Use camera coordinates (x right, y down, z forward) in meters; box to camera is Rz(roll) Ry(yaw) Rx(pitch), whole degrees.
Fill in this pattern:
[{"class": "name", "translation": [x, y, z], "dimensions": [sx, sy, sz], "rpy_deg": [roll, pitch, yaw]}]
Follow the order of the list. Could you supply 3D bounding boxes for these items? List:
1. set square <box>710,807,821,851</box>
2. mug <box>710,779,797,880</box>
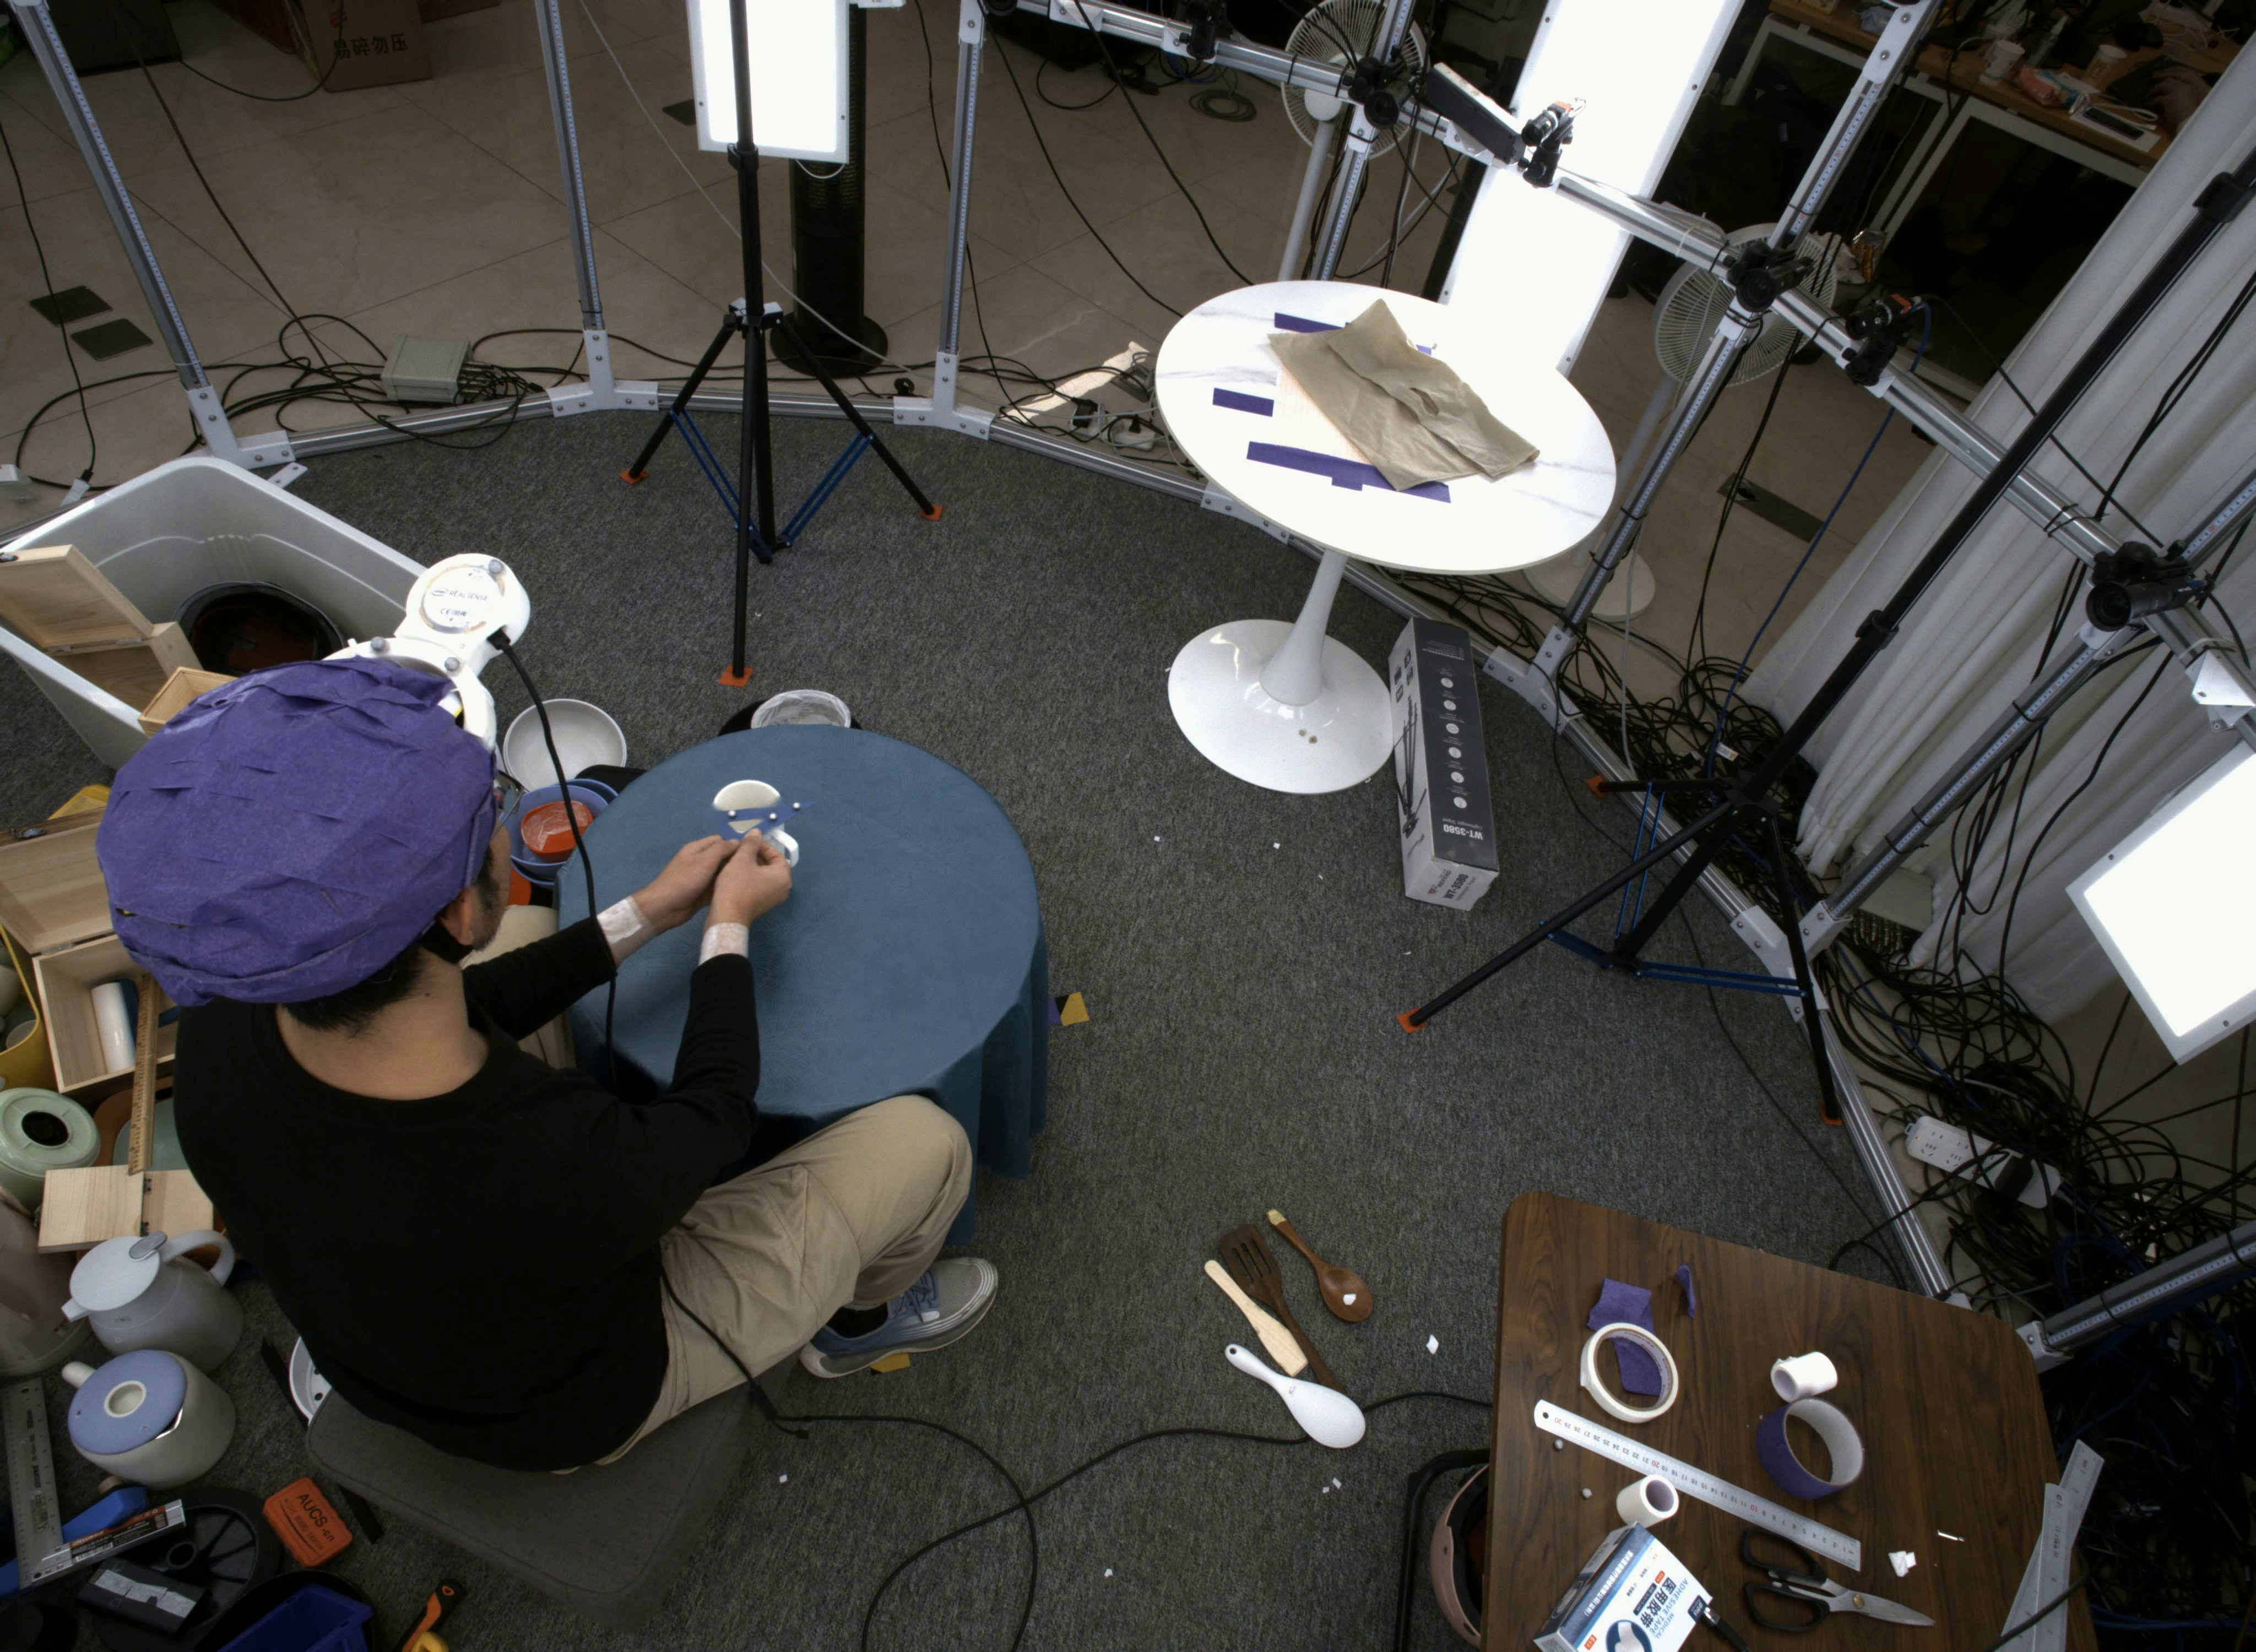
[{"class": "set square", "translation": [-0.433, 0.001, 1.550], "dimensions": [0.132, 0.007, 0.060], "rpy_deg": [-4, 54, -16]}, {"class": "mug", "translation": [-0.466, 0.013, 1.632], "dimensions": [0.116, 0.104, 0.084], "rpy_deg": [30, 52, 11]}]
